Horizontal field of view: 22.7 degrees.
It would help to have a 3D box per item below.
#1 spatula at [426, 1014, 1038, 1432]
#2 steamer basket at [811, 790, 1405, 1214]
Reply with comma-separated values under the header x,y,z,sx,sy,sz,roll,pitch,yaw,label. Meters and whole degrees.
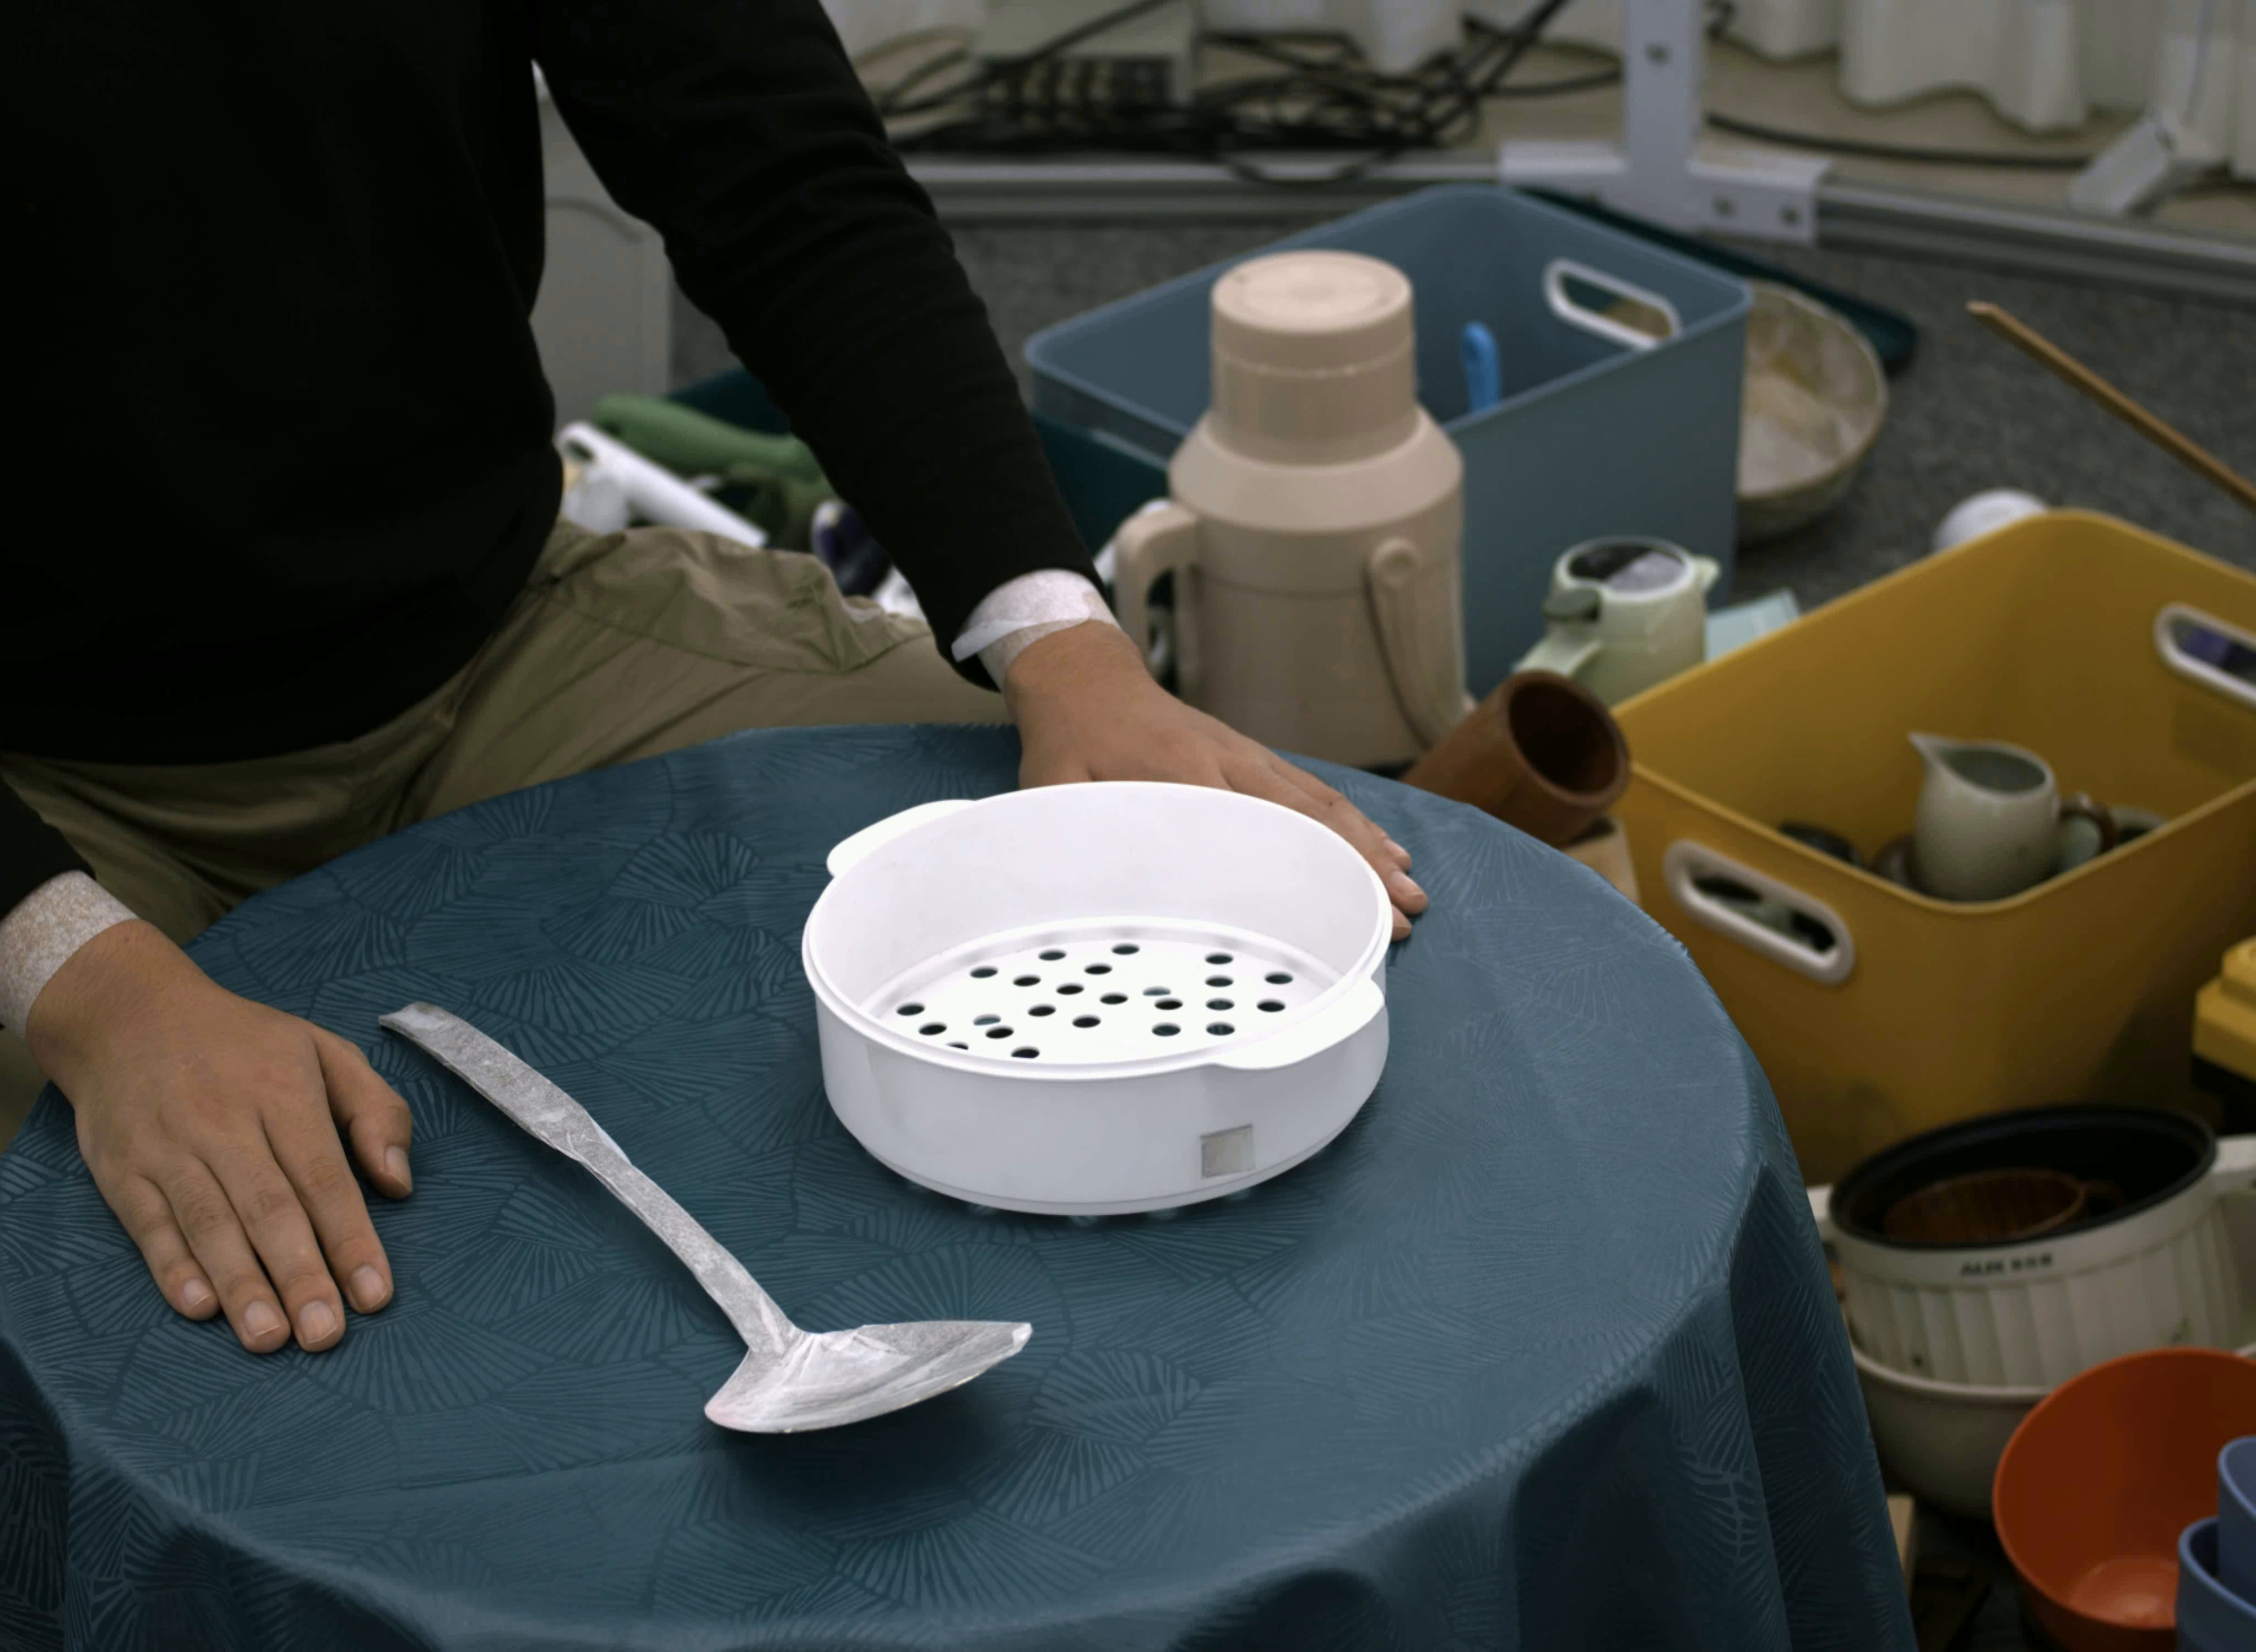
x,y,z,sx,sy,sz,roll,pitch,yaw,label
-0.153,0.121,1.837,0.099,0.044,0.366,-20,32,-26,spatula
-0.006,0.060,1.906,0.204,0.068,0.230,-24,33,-37,steamer basket
